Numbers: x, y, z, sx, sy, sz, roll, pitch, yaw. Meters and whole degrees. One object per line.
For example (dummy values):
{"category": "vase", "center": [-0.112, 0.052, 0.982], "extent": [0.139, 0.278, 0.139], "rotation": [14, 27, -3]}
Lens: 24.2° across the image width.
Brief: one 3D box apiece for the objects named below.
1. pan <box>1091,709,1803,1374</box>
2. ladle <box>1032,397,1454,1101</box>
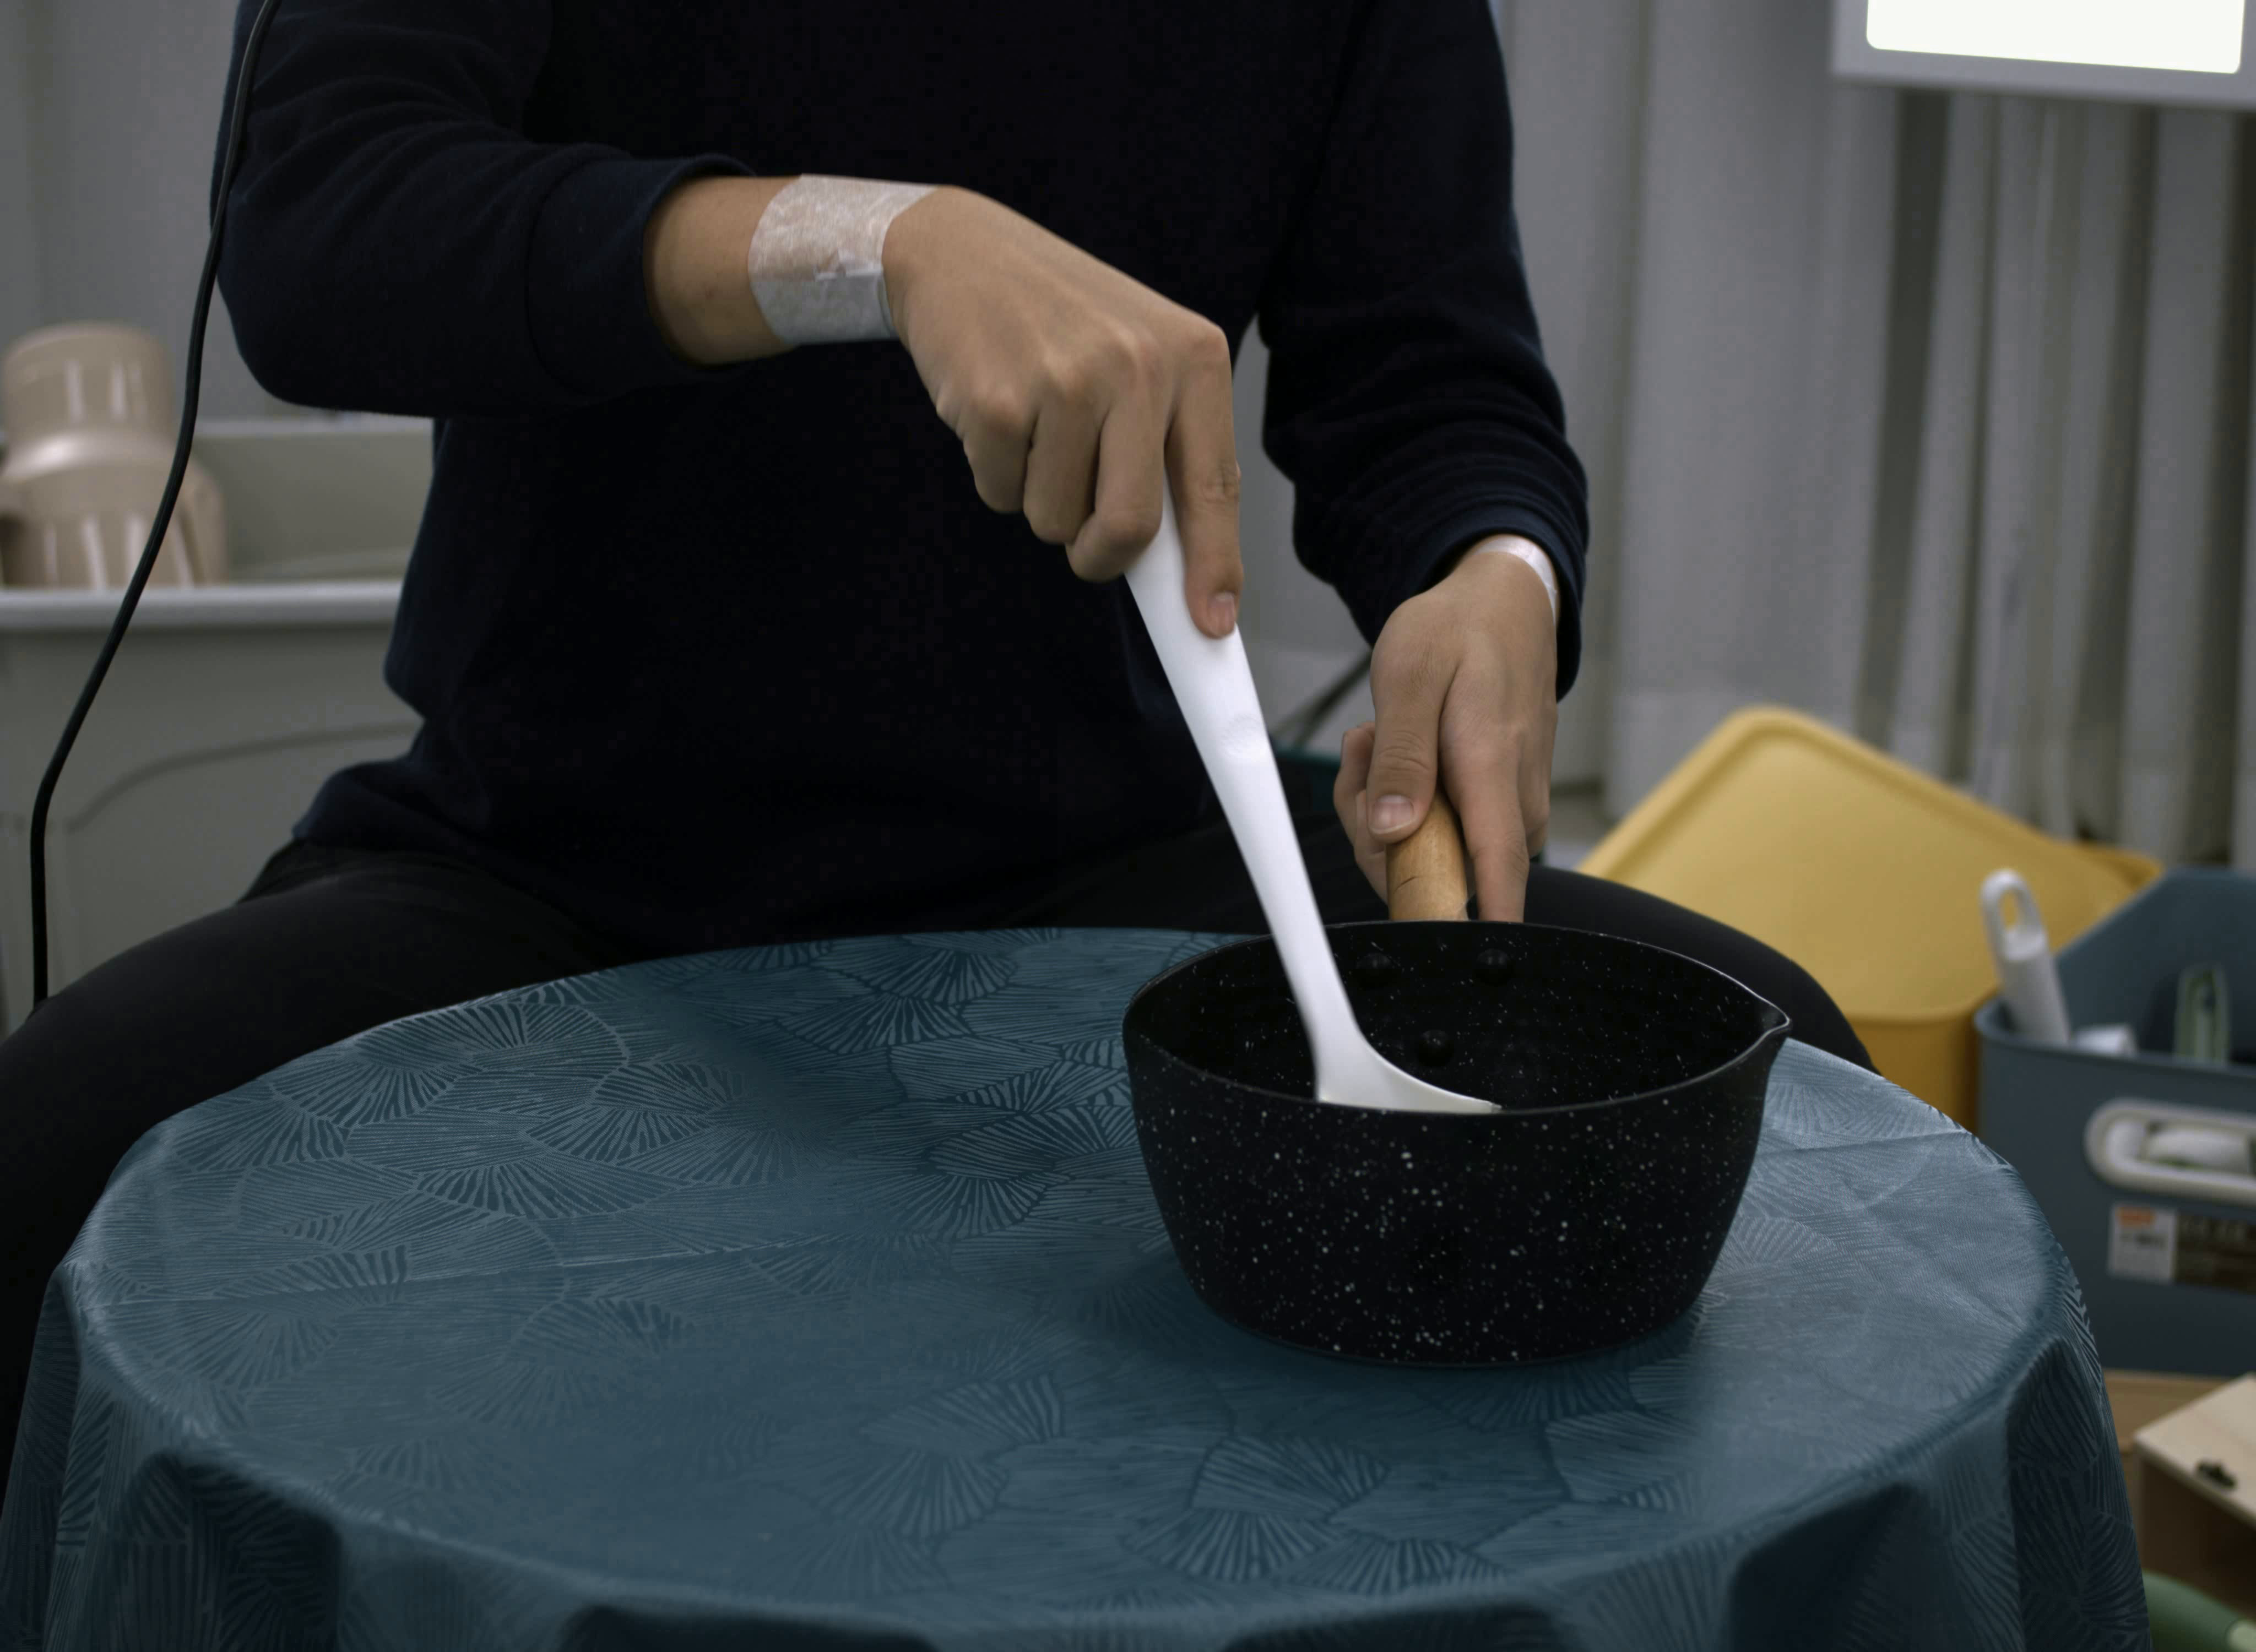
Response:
{"category": "pan", "center": [0.092, 0.060, 1.610], "extent": [0.207, 0.109, 0.341], "rotation": [-1, 17, -1]}
{"category": "ladle", "center": [0.040, 0.003, 1.553], "extent": [0.090, 0.292, 0.070], "rotation": [-17, -11, -19]}
